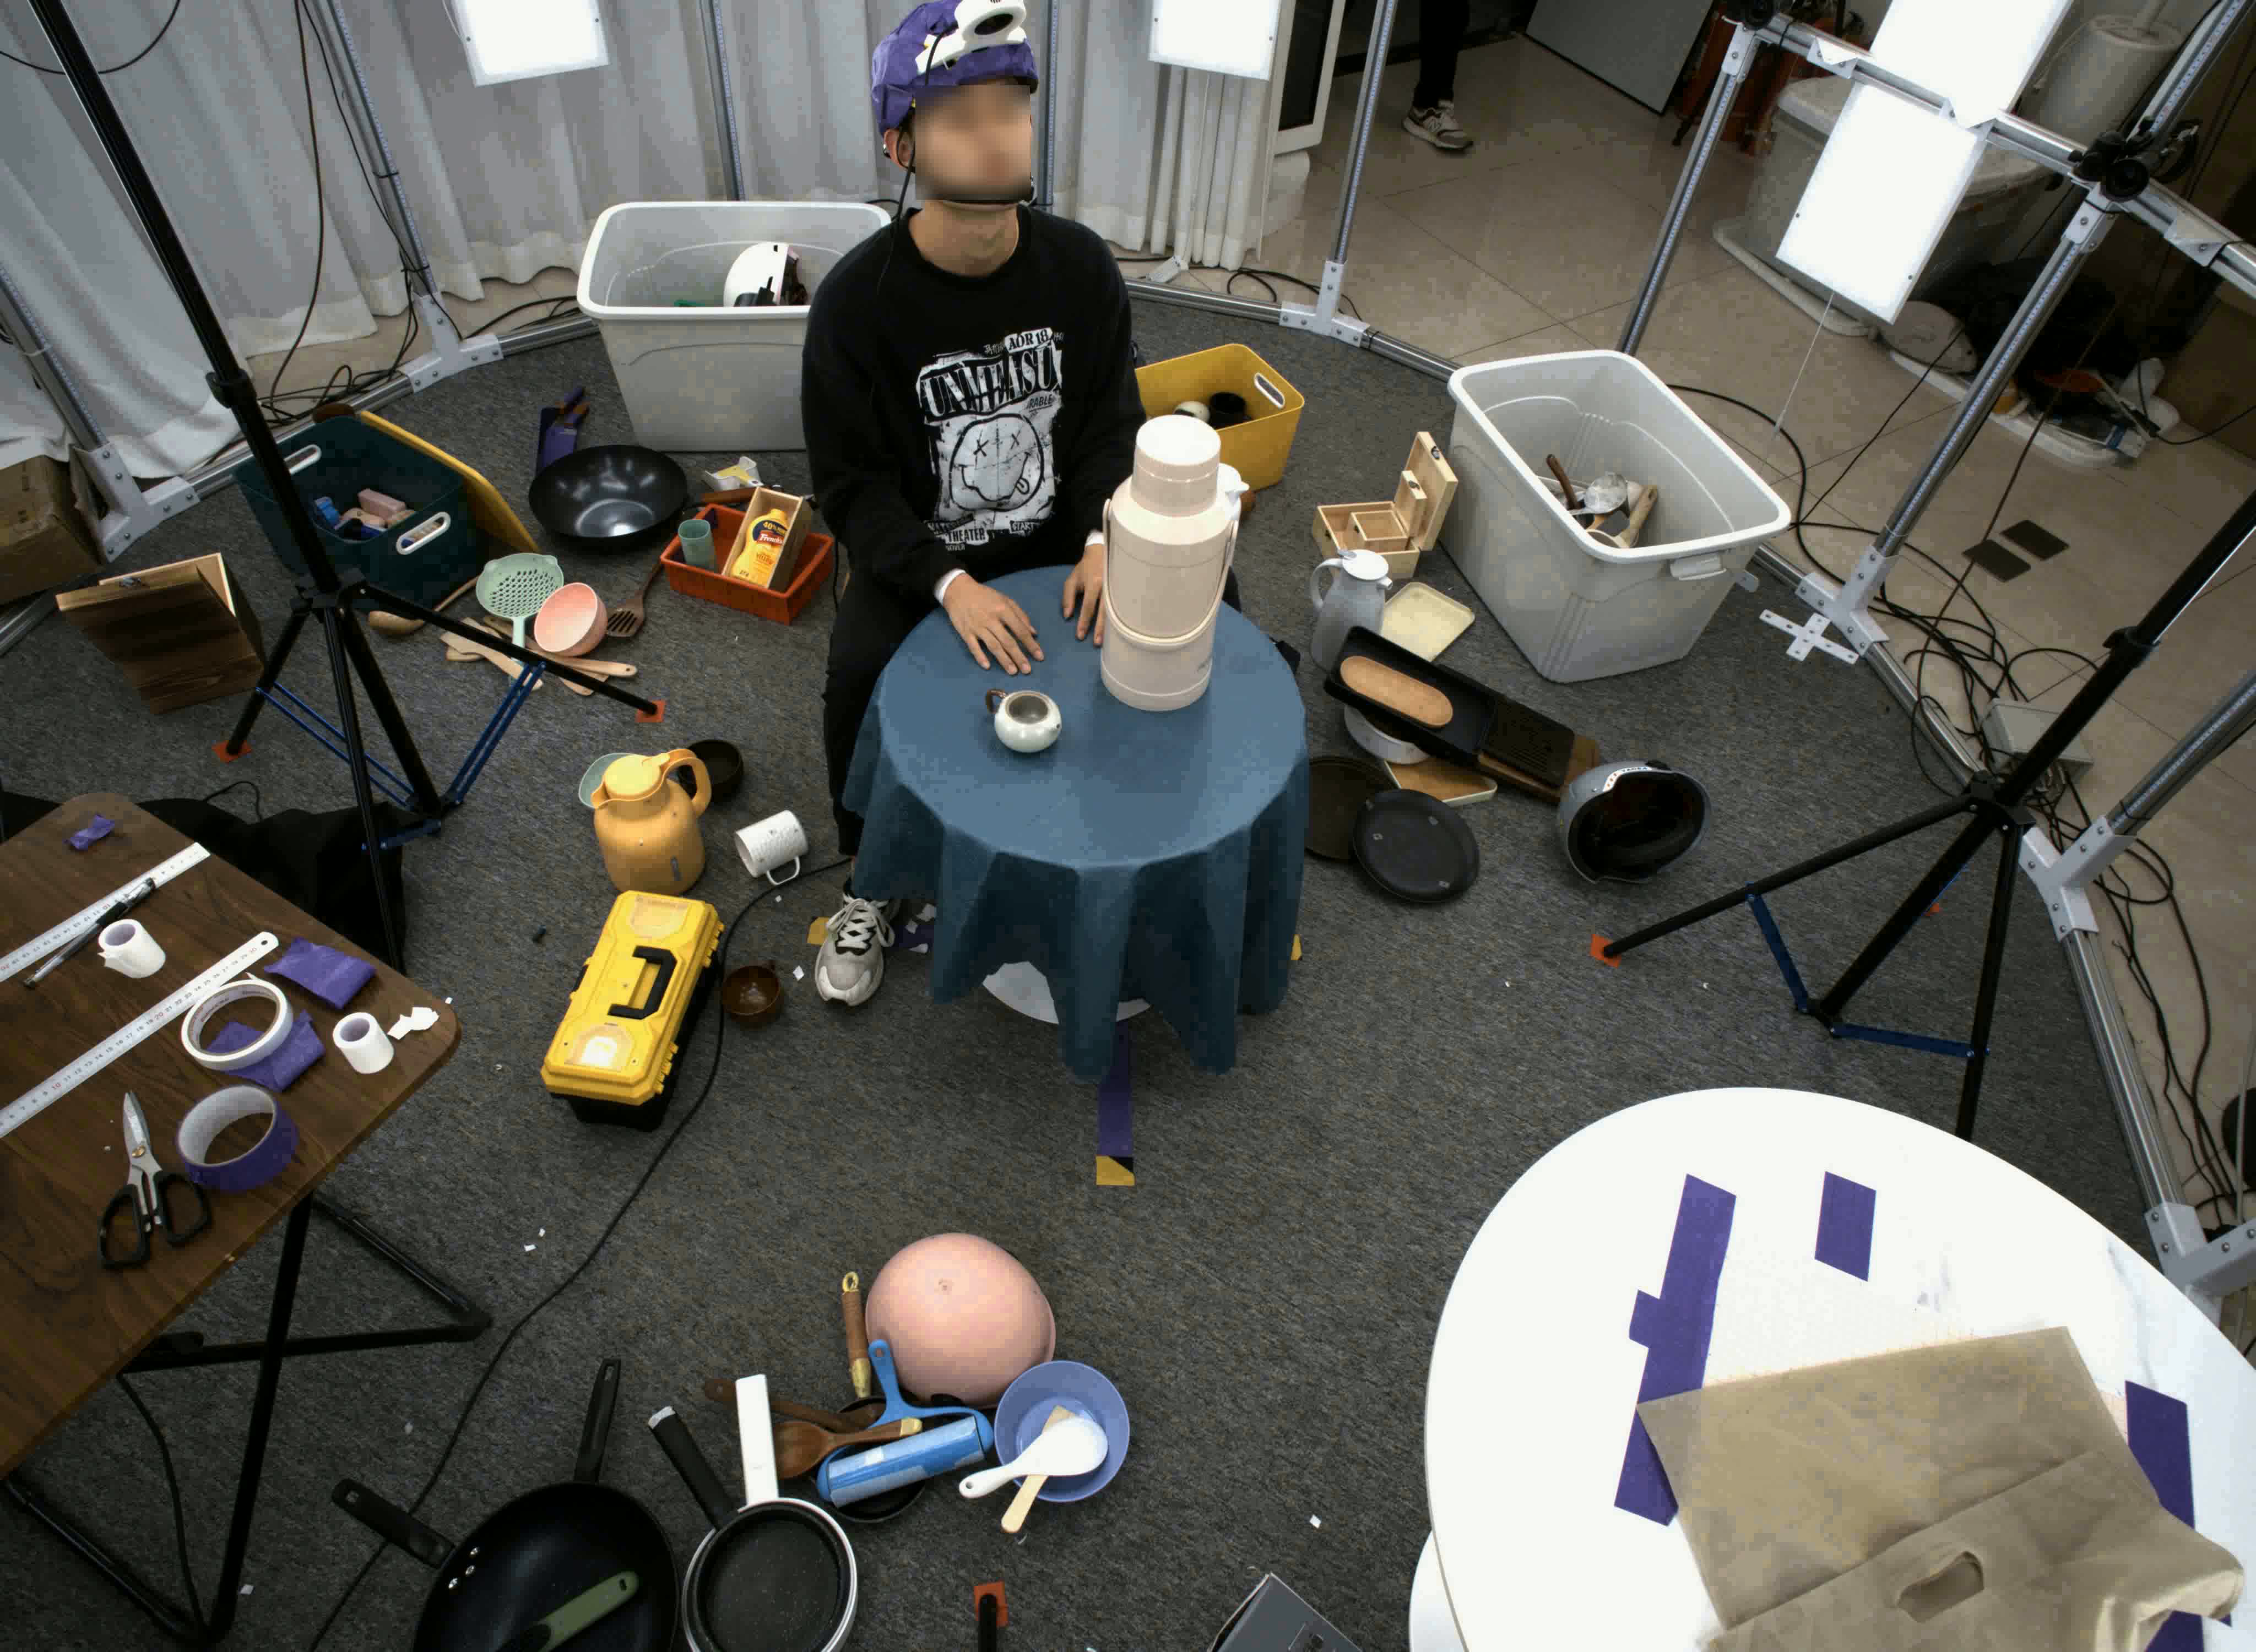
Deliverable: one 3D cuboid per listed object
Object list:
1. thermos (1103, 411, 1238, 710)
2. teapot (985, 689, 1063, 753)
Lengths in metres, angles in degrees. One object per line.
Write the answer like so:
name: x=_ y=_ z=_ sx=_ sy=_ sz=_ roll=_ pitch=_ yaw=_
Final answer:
thermos: x=0.056 y=-0.359 z=1.729 sx=0.175 sy=0.396 sz=0.212 roll=9 pitch=50 yaw=6
teapot: x=-0.143 y=-0.147 z=1.750 sx=0.129 sy=0.058 sz=0.093 roll=30 pitch=56 yaw=19
